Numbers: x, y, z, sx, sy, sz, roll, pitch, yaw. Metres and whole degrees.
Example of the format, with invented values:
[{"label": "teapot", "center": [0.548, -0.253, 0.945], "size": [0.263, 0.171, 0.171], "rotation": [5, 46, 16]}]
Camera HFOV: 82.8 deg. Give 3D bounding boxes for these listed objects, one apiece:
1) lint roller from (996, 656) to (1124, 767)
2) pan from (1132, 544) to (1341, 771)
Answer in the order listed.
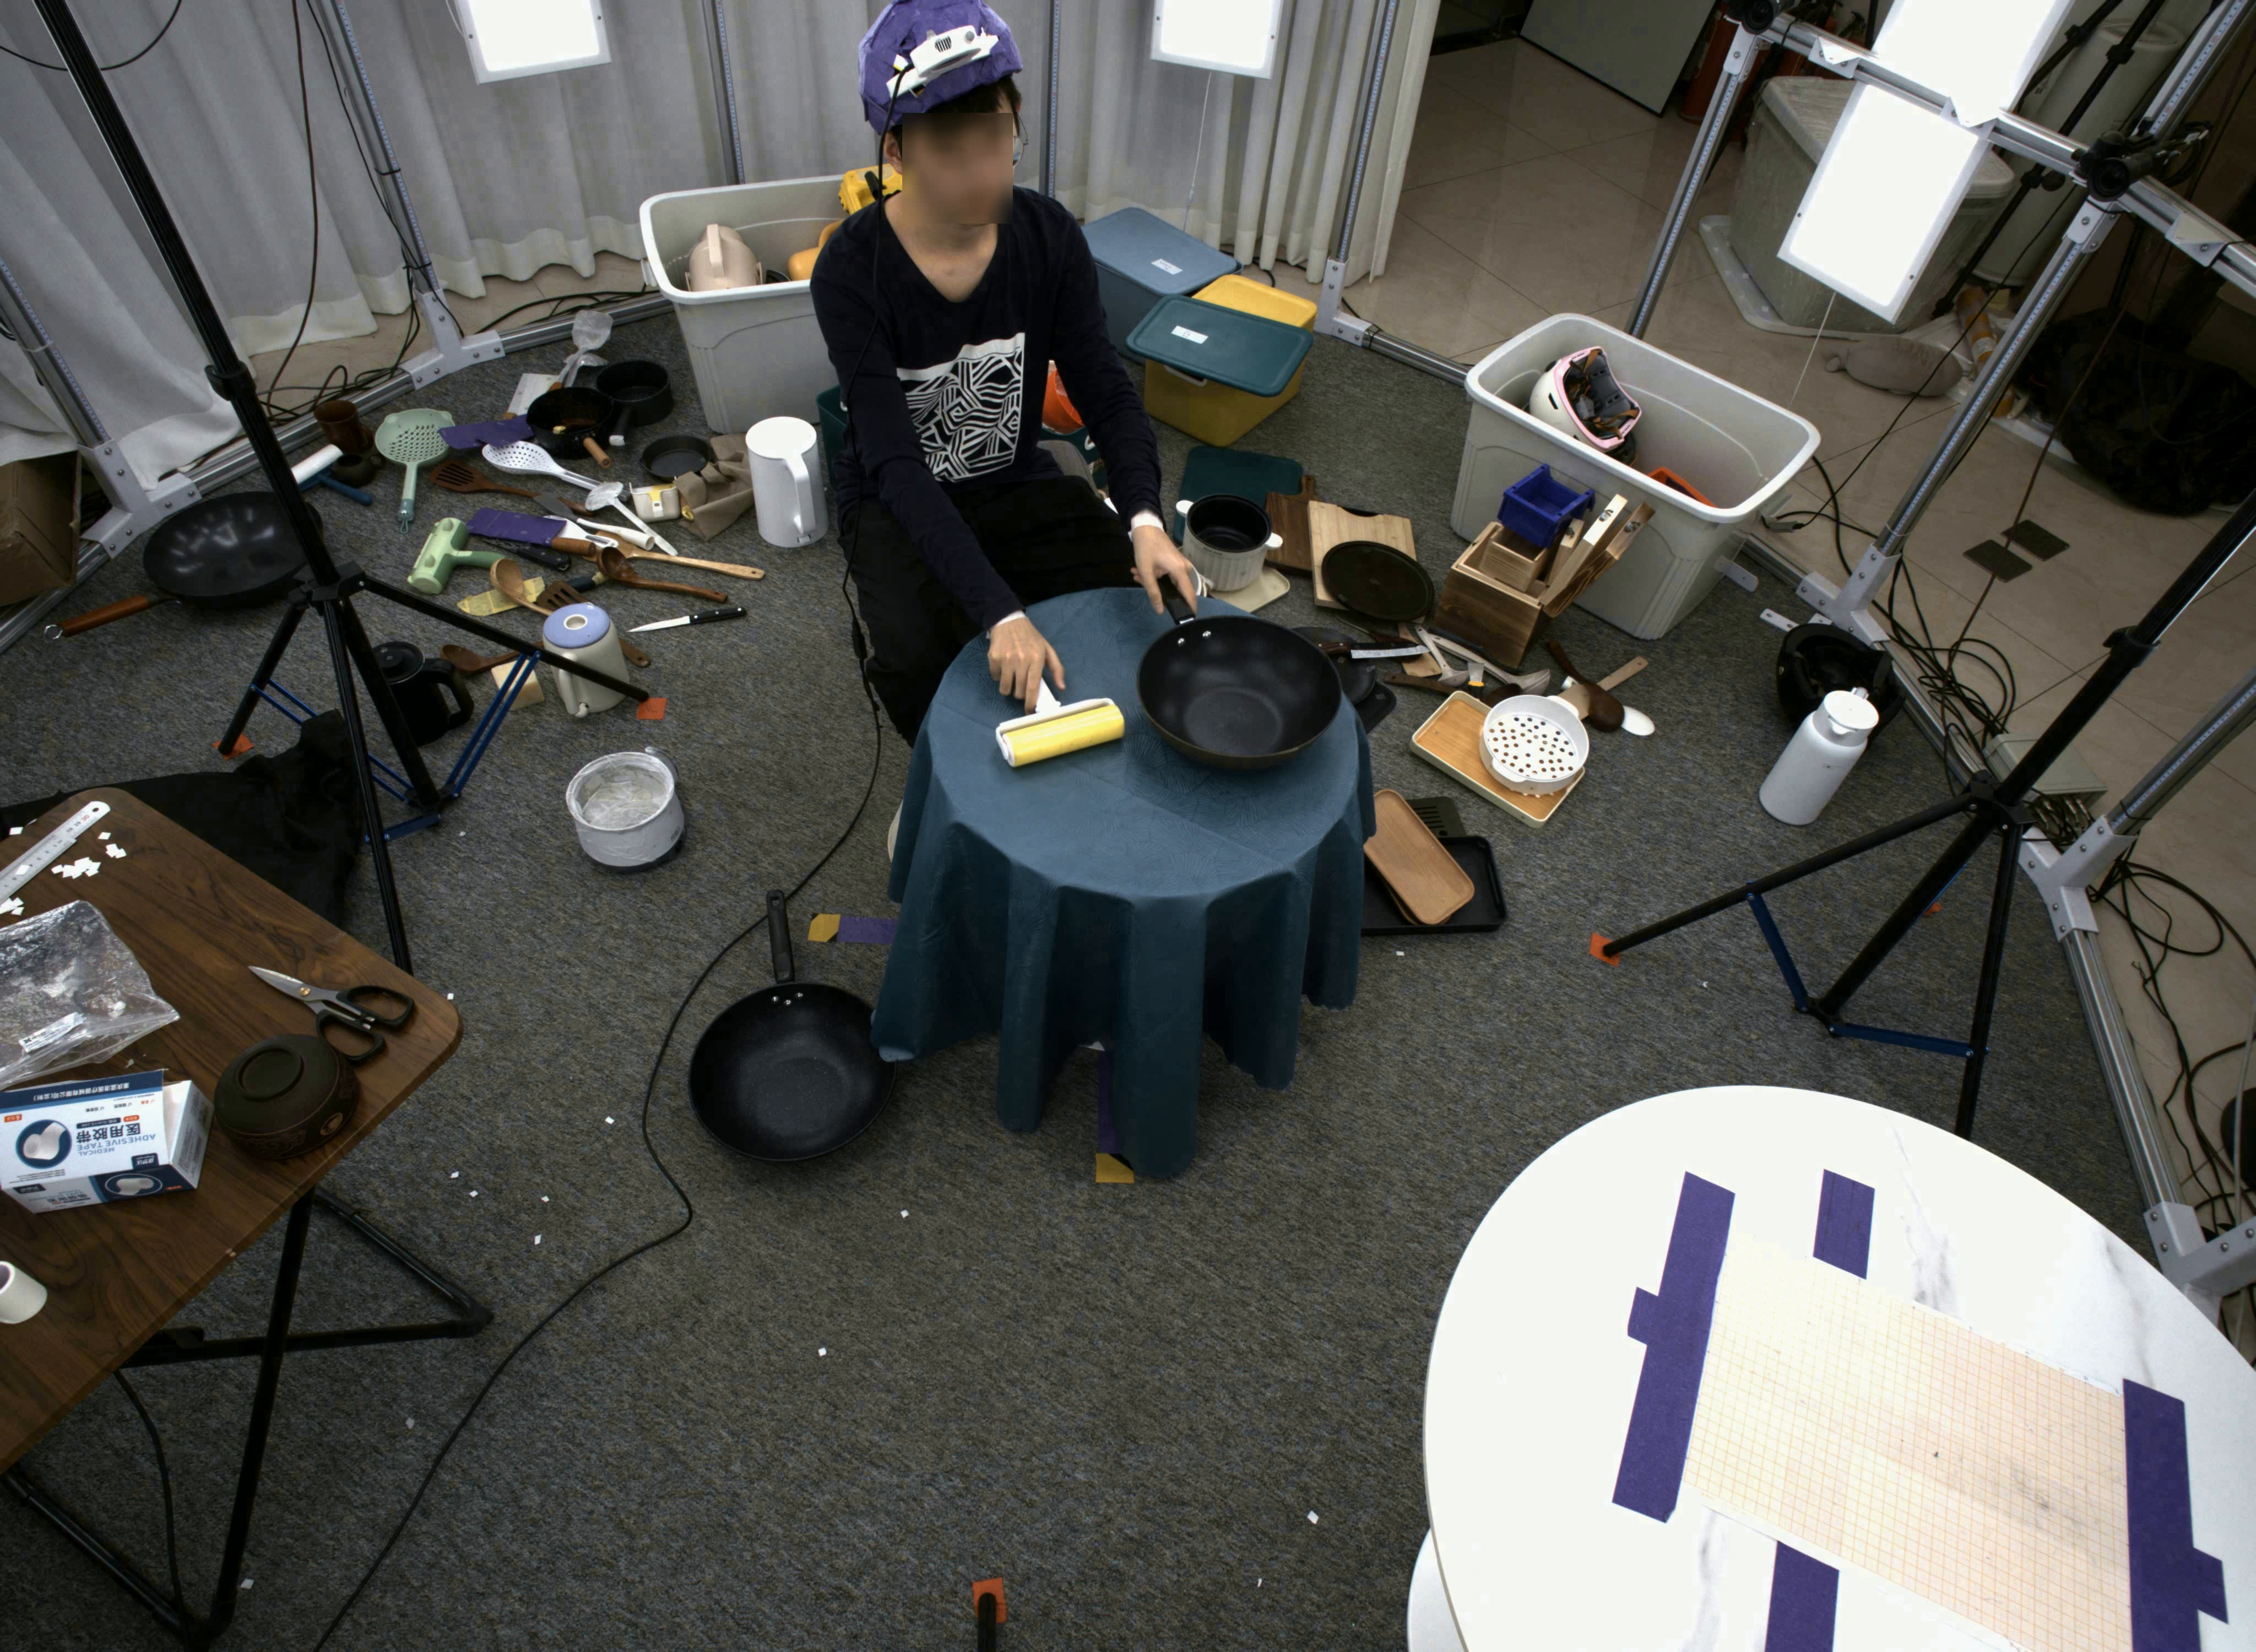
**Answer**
[{"label": "lint roller", "center": [-0.118, -0.178, 1.774], "size": [0.174, 0.050, 0.196], "rotation": [-17, 58, -19]}, {"label": "pan", "center": [0.107, -0.235, 1.825], "size": [0.288, 0.085, 0.474], "rotation": [-18, 52, -19]}]
